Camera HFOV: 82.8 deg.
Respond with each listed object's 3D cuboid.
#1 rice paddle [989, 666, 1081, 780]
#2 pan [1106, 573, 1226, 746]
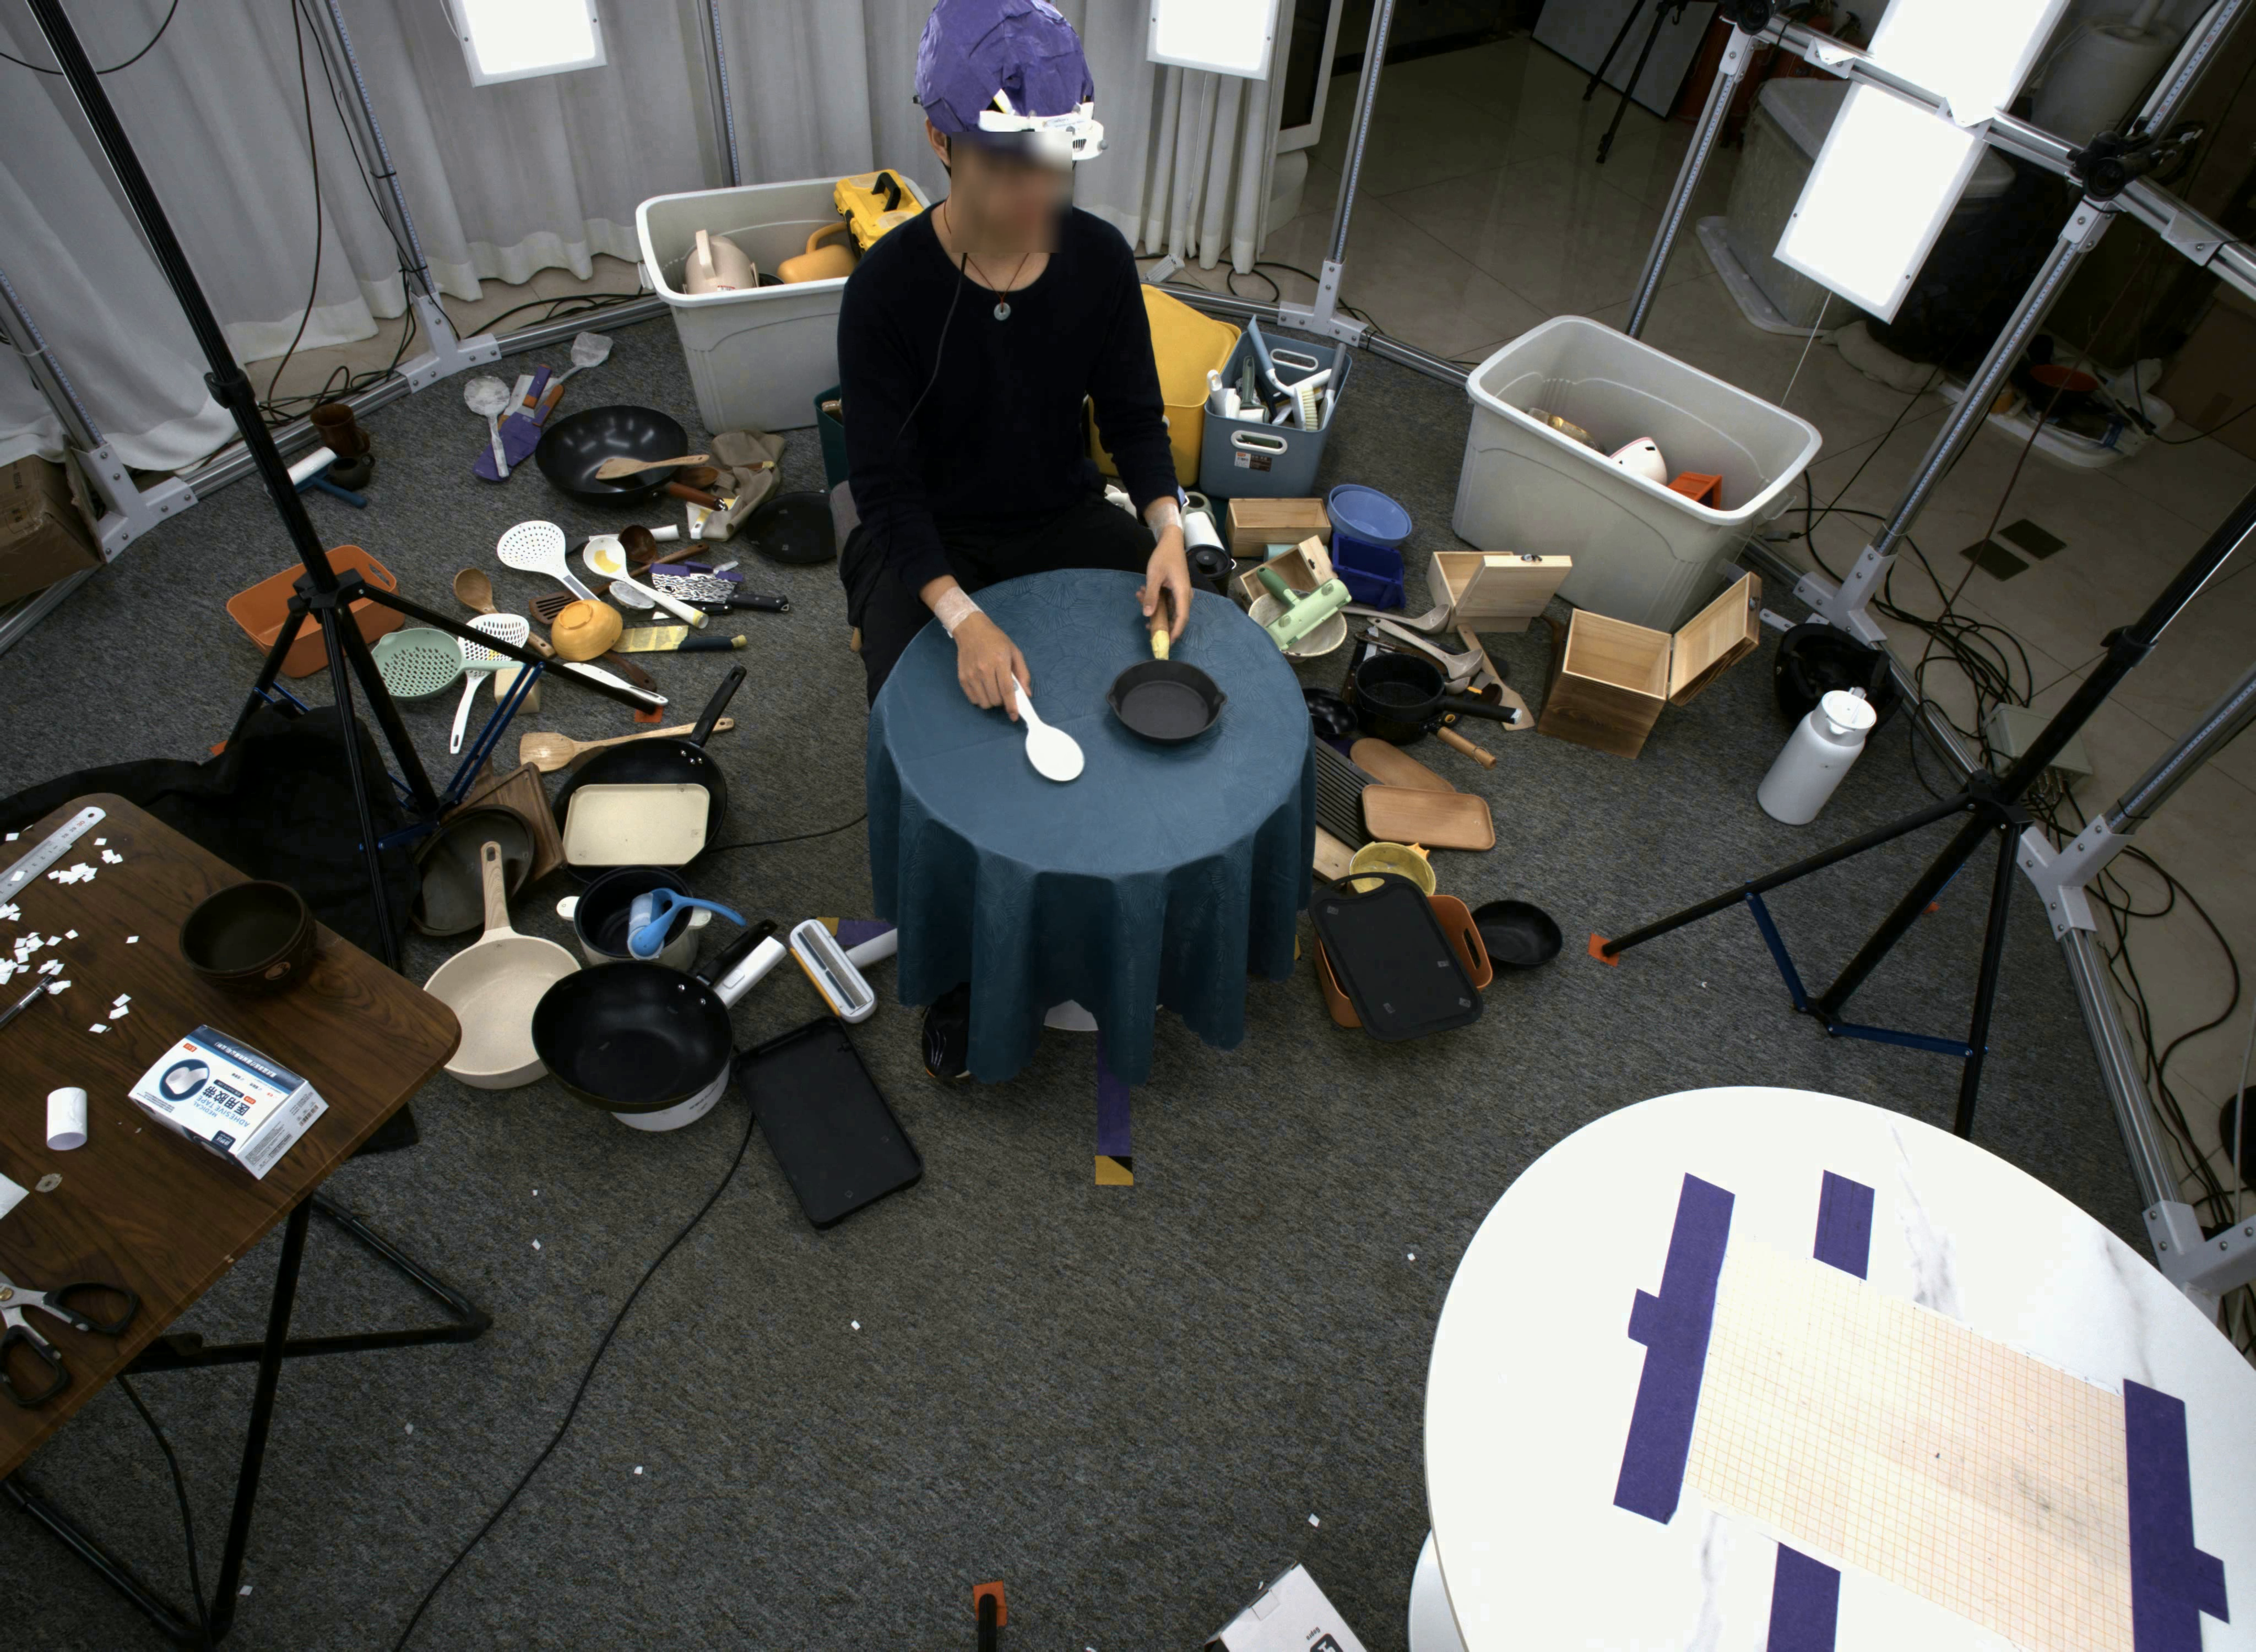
[{"bbox_3d":[-0.130,-0.140,1.756,0.069,0.029,0.209,-21,58,-22],"label":"rice paddle"},{"bbox_3d":[0.052,-0.241,1.848,0.169,0.048,0.332,1,51,-3],"label":"pan"}]
